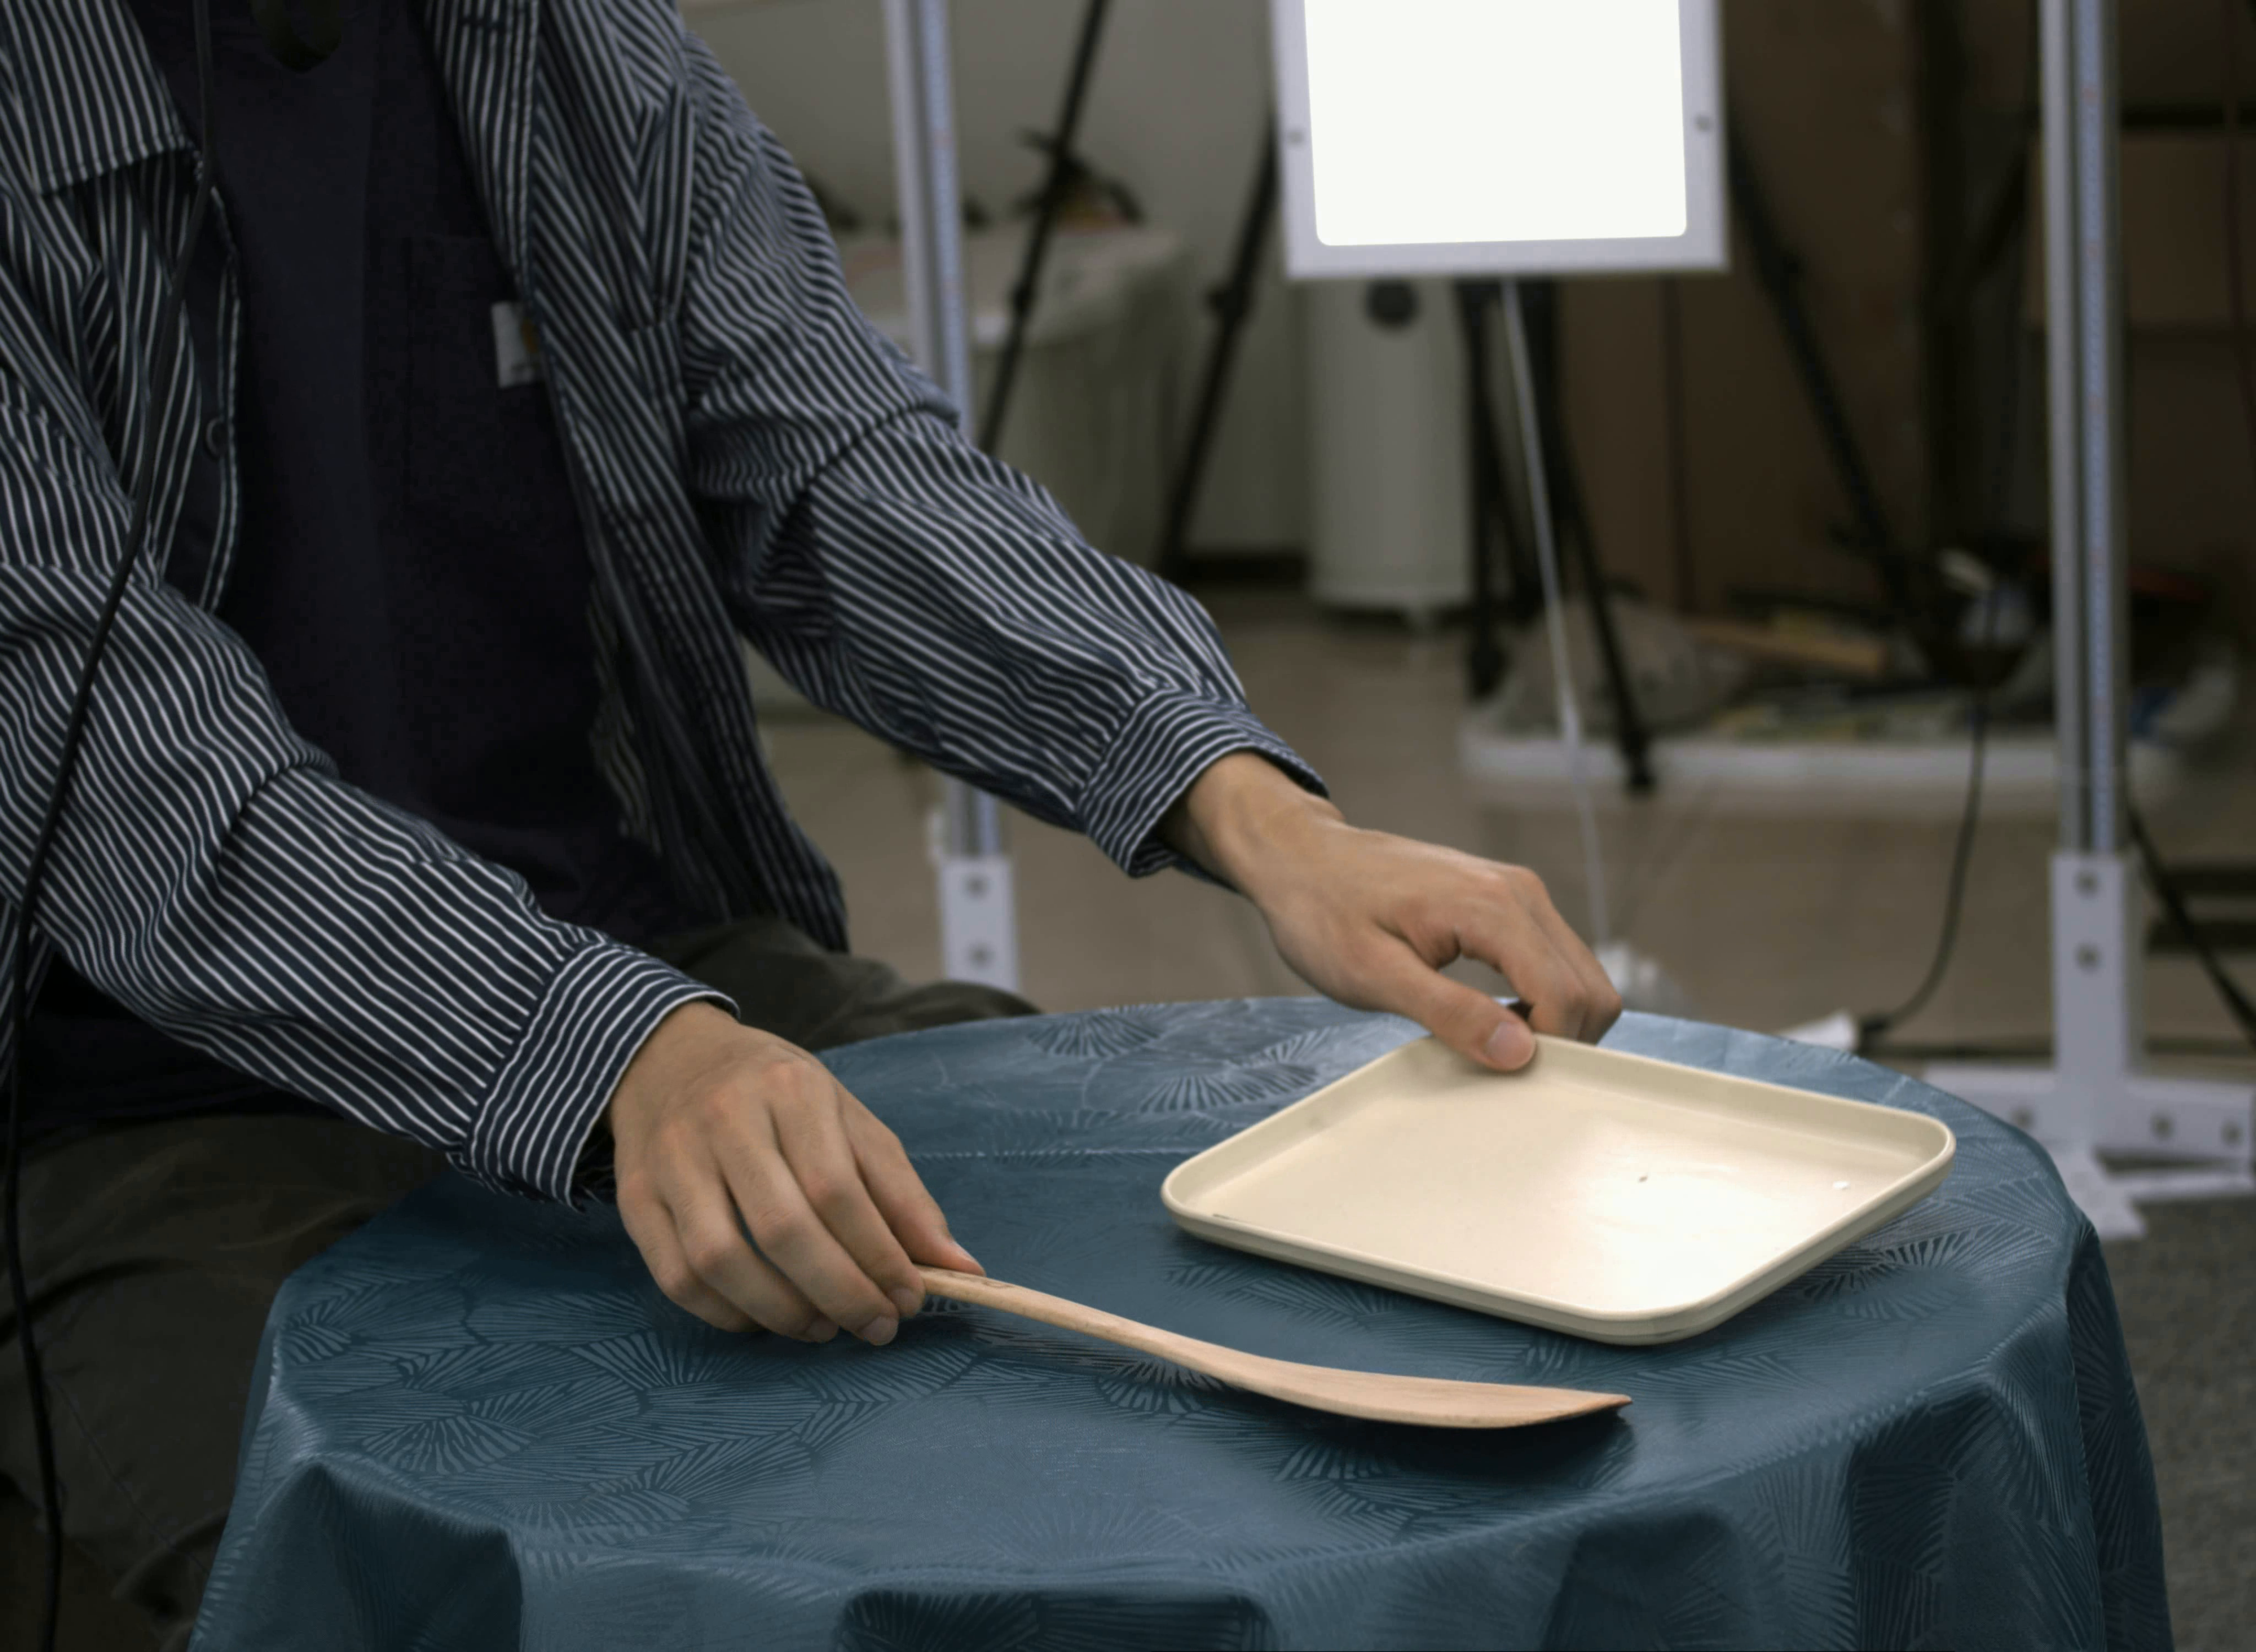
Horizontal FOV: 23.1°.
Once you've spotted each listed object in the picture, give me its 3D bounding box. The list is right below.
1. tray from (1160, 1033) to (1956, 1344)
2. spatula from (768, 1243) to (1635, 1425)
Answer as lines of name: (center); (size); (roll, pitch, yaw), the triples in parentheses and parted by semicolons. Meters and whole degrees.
tray: (0.141, 0.118, 1.805); (0.167, 0.017, 0.245); (-24, 23, -38)
spatula: (0.013, 0.156, 1.708); (0.334, 0.016, 0.078); (9, 5, 40)
